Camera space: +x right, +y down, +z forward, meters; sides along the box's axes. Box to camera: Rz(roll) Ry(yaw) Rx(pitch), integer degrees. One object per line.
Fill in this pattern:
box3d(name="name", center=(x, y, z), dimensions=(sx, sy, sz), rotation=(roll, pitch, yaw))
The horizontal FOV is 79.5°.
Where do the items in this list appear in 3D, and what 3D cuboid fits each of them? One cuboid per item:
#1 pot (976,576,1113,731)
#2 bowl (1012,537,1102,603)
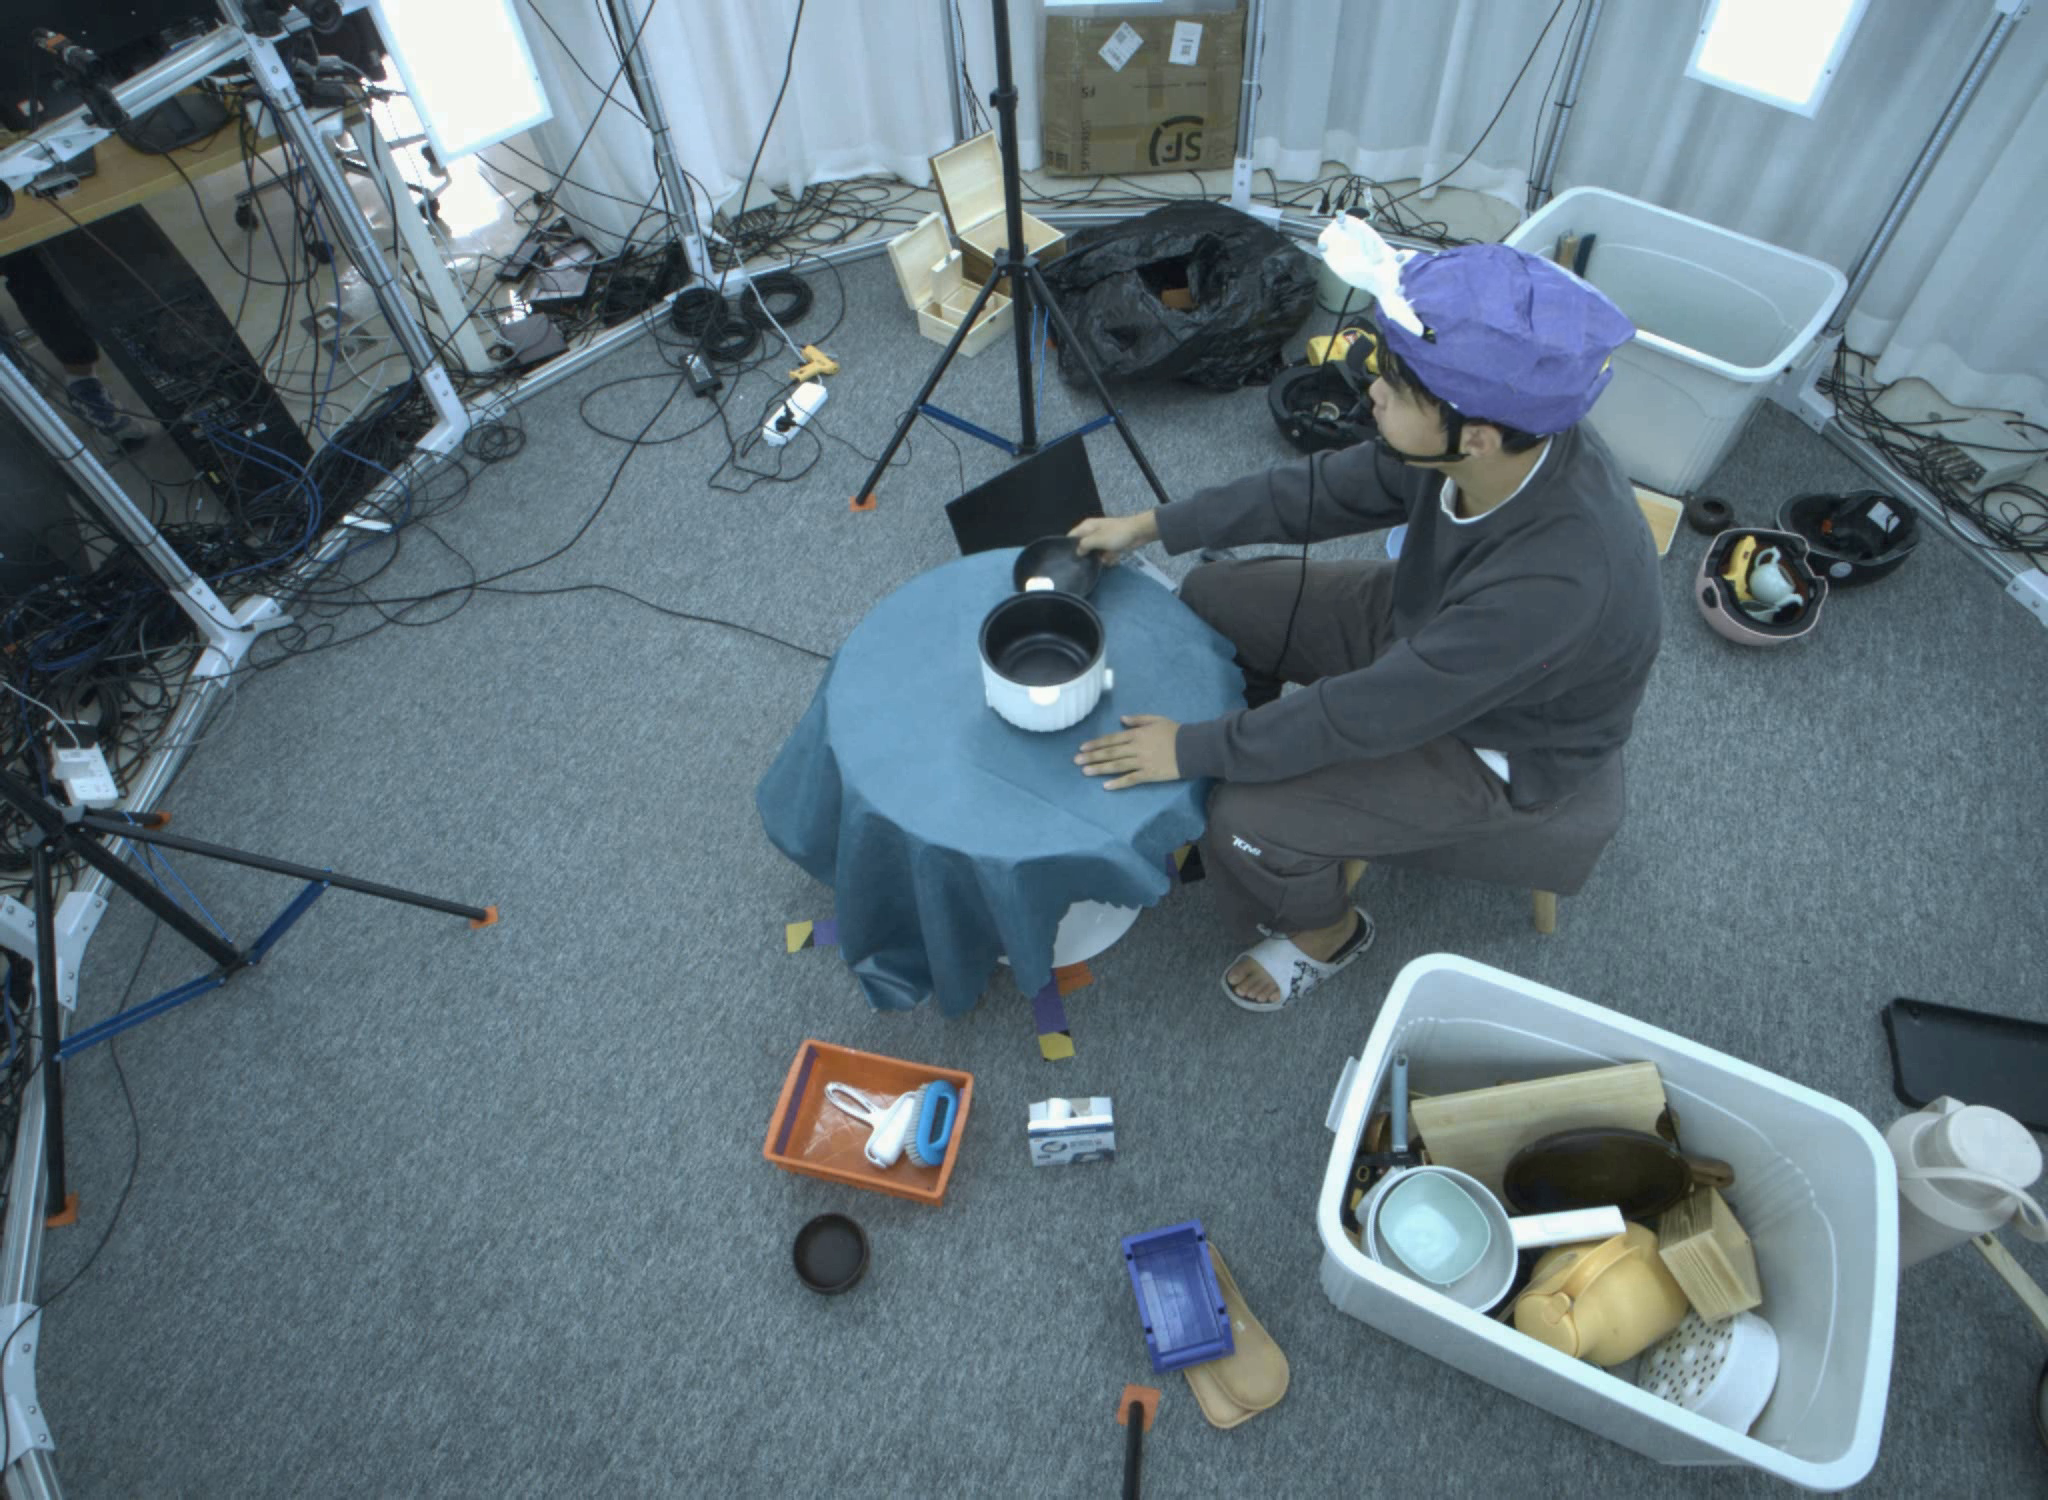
box3d(name="pot", center=(0.032, -0.125, 1.790), dimensions=(0.190, 0.144, 0.237), rotation=(-5, 56, 2))
box3d(name="bowl", center=(0.052, -0.266, 1.935), dimensions=(0.136, 0.067, 0.170), rotation=(14, 55, 11))
